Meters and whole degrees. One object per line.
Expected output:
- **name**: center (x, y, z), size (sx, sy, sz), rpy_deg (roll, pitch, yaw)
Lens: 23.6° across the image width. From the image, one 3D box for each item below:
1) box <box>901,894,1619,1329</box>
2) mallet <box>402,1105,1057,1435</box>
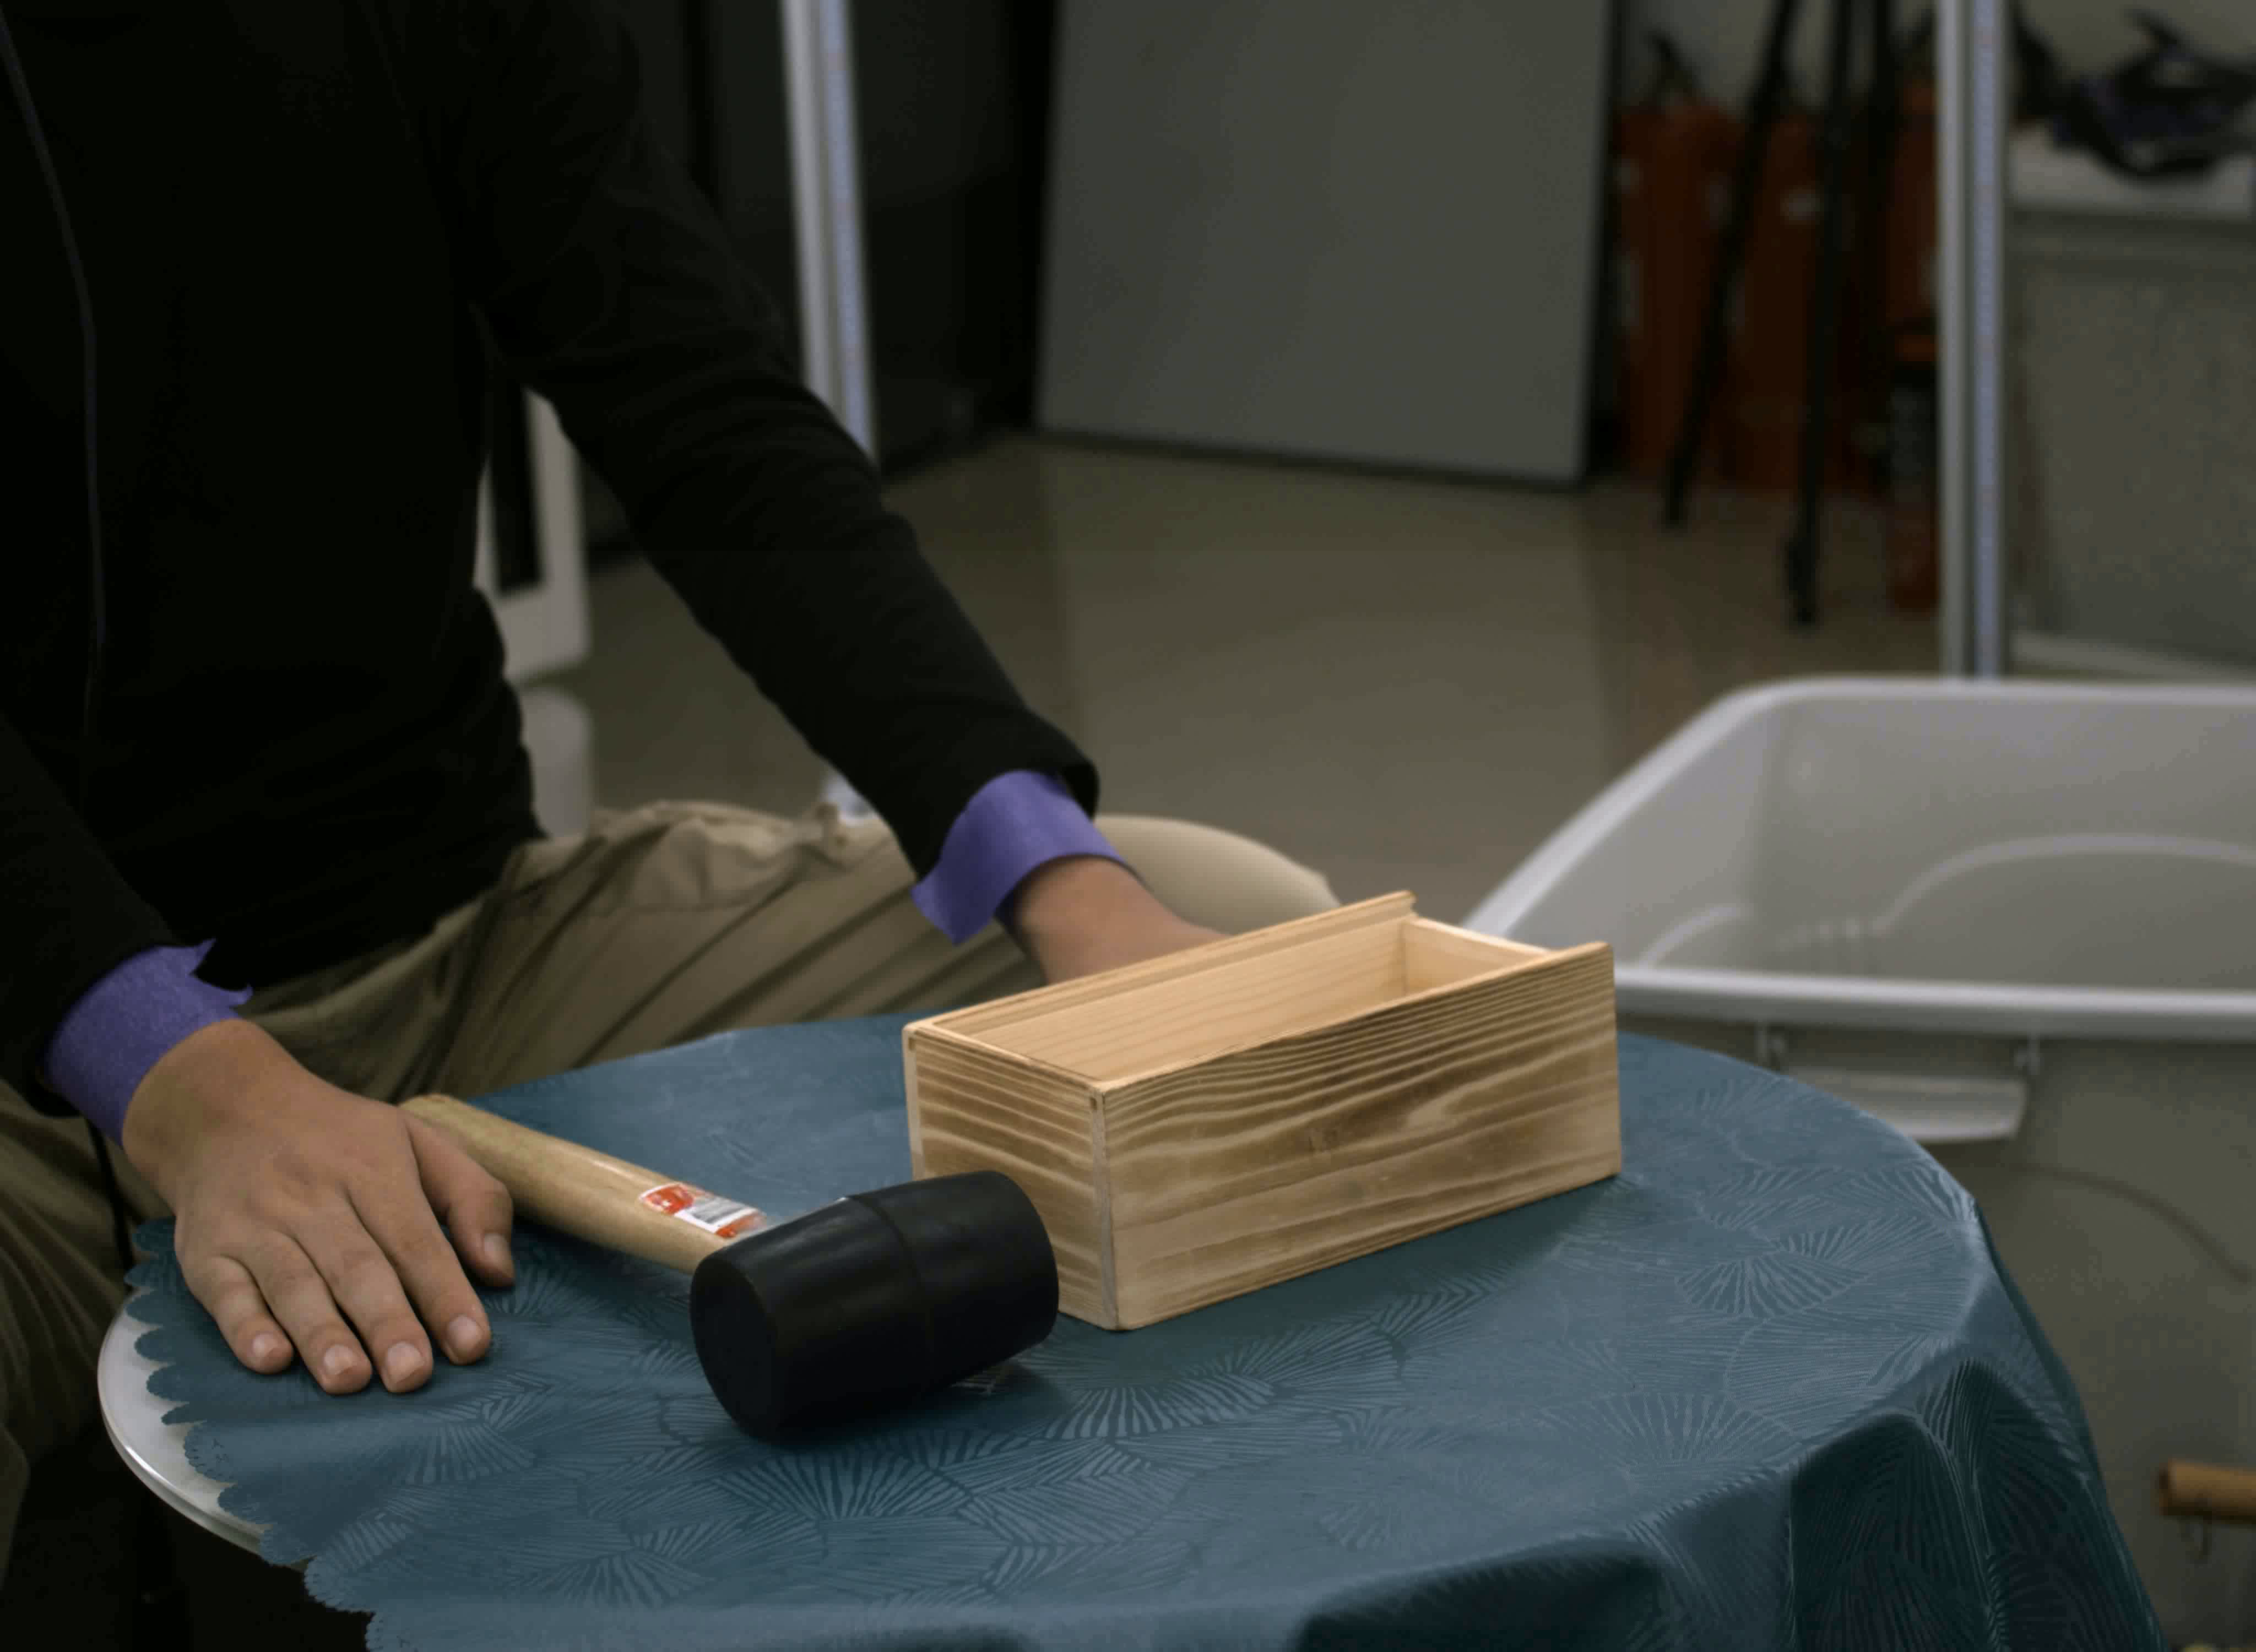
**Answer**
- **box**: center (0.044, 0.088, 1.727), size (0.207, 0.081, 0.108), rpy_deg (-14, 16, -35)
- **mallet**: center (-0.148, 0.119, 1.704), size (0.099, 0.065, 0.342), rpy_deg (-11, 14, -30)
